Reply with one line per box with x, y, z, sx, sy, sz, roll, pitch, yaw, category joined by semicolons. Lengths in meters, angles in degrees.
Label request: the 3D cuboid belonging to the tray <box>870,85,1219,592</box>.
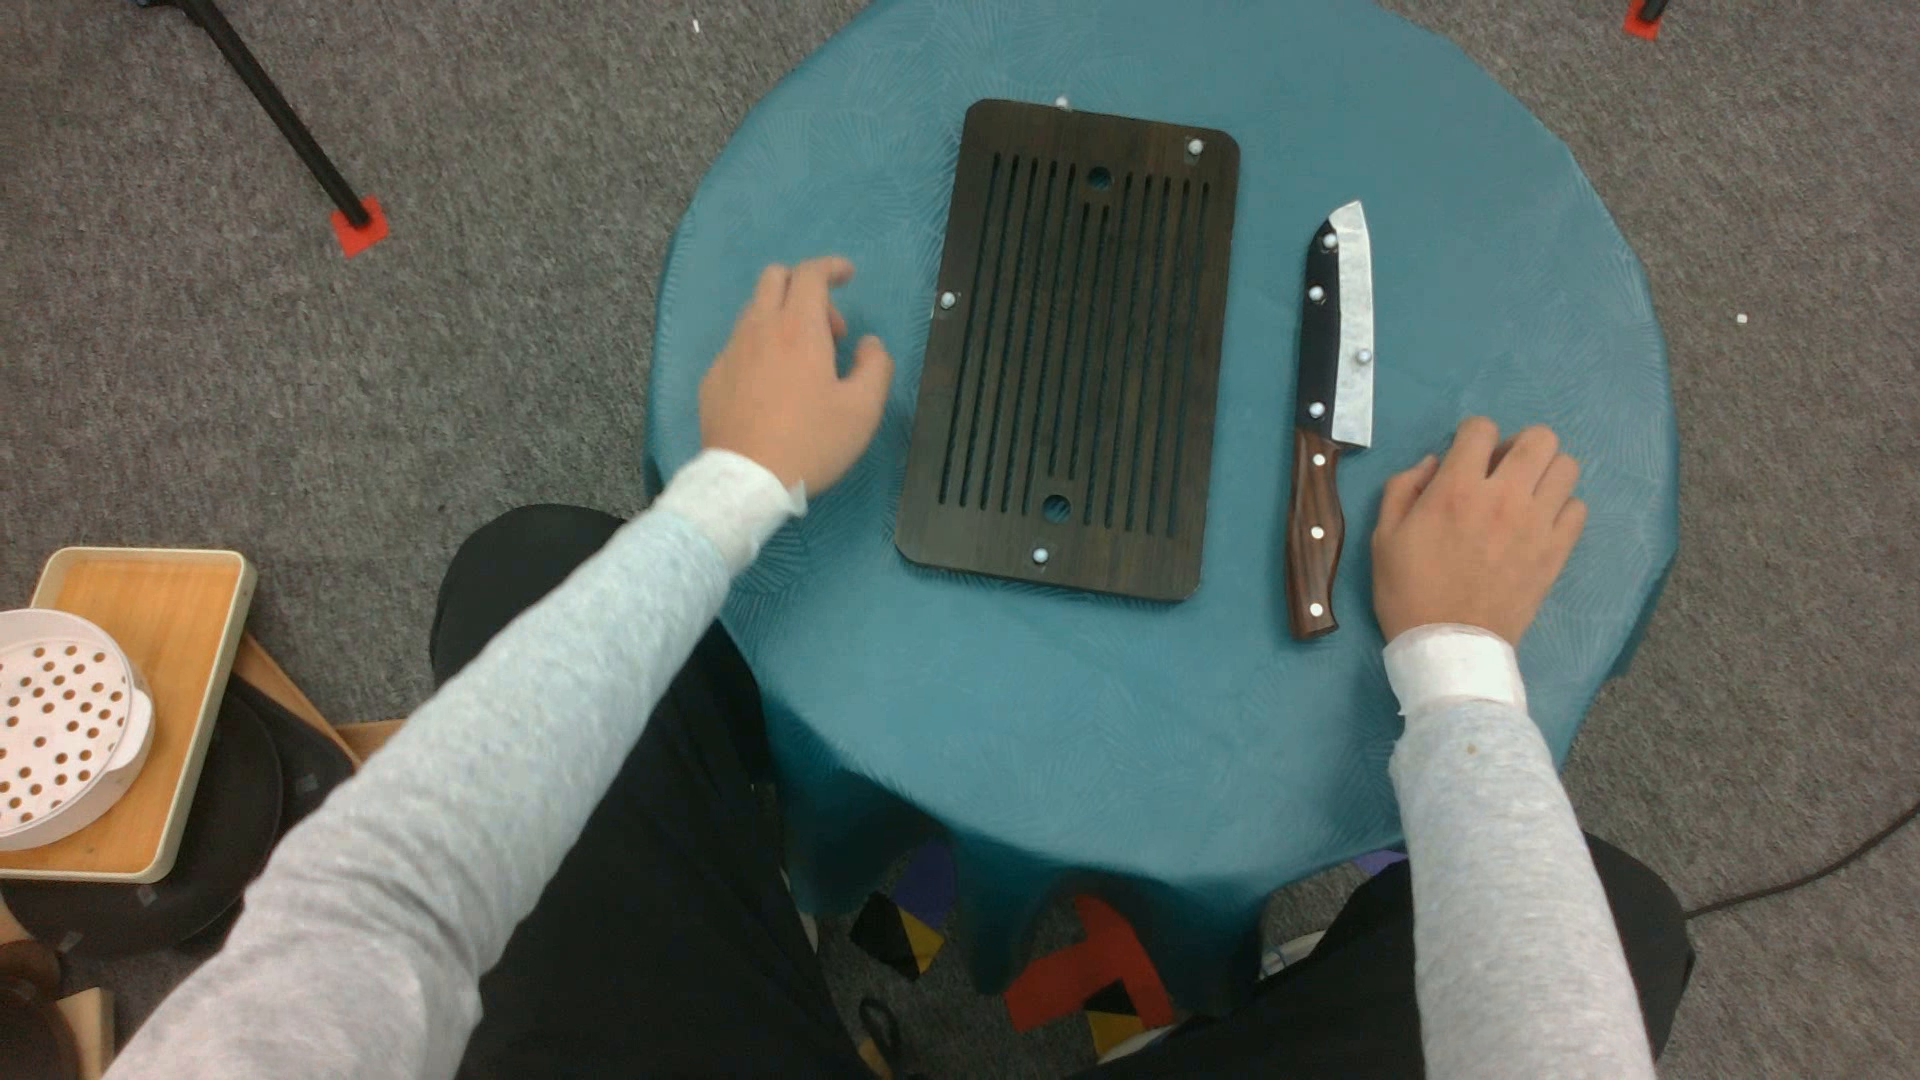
0.054;-0.124;0.800;0.170;0.018;0.307;9;71;0;tray

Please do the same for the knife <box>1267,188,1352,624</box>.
0.203;-0.086;0.795;0.050;0.020;0.290;12;68;-5;knife
